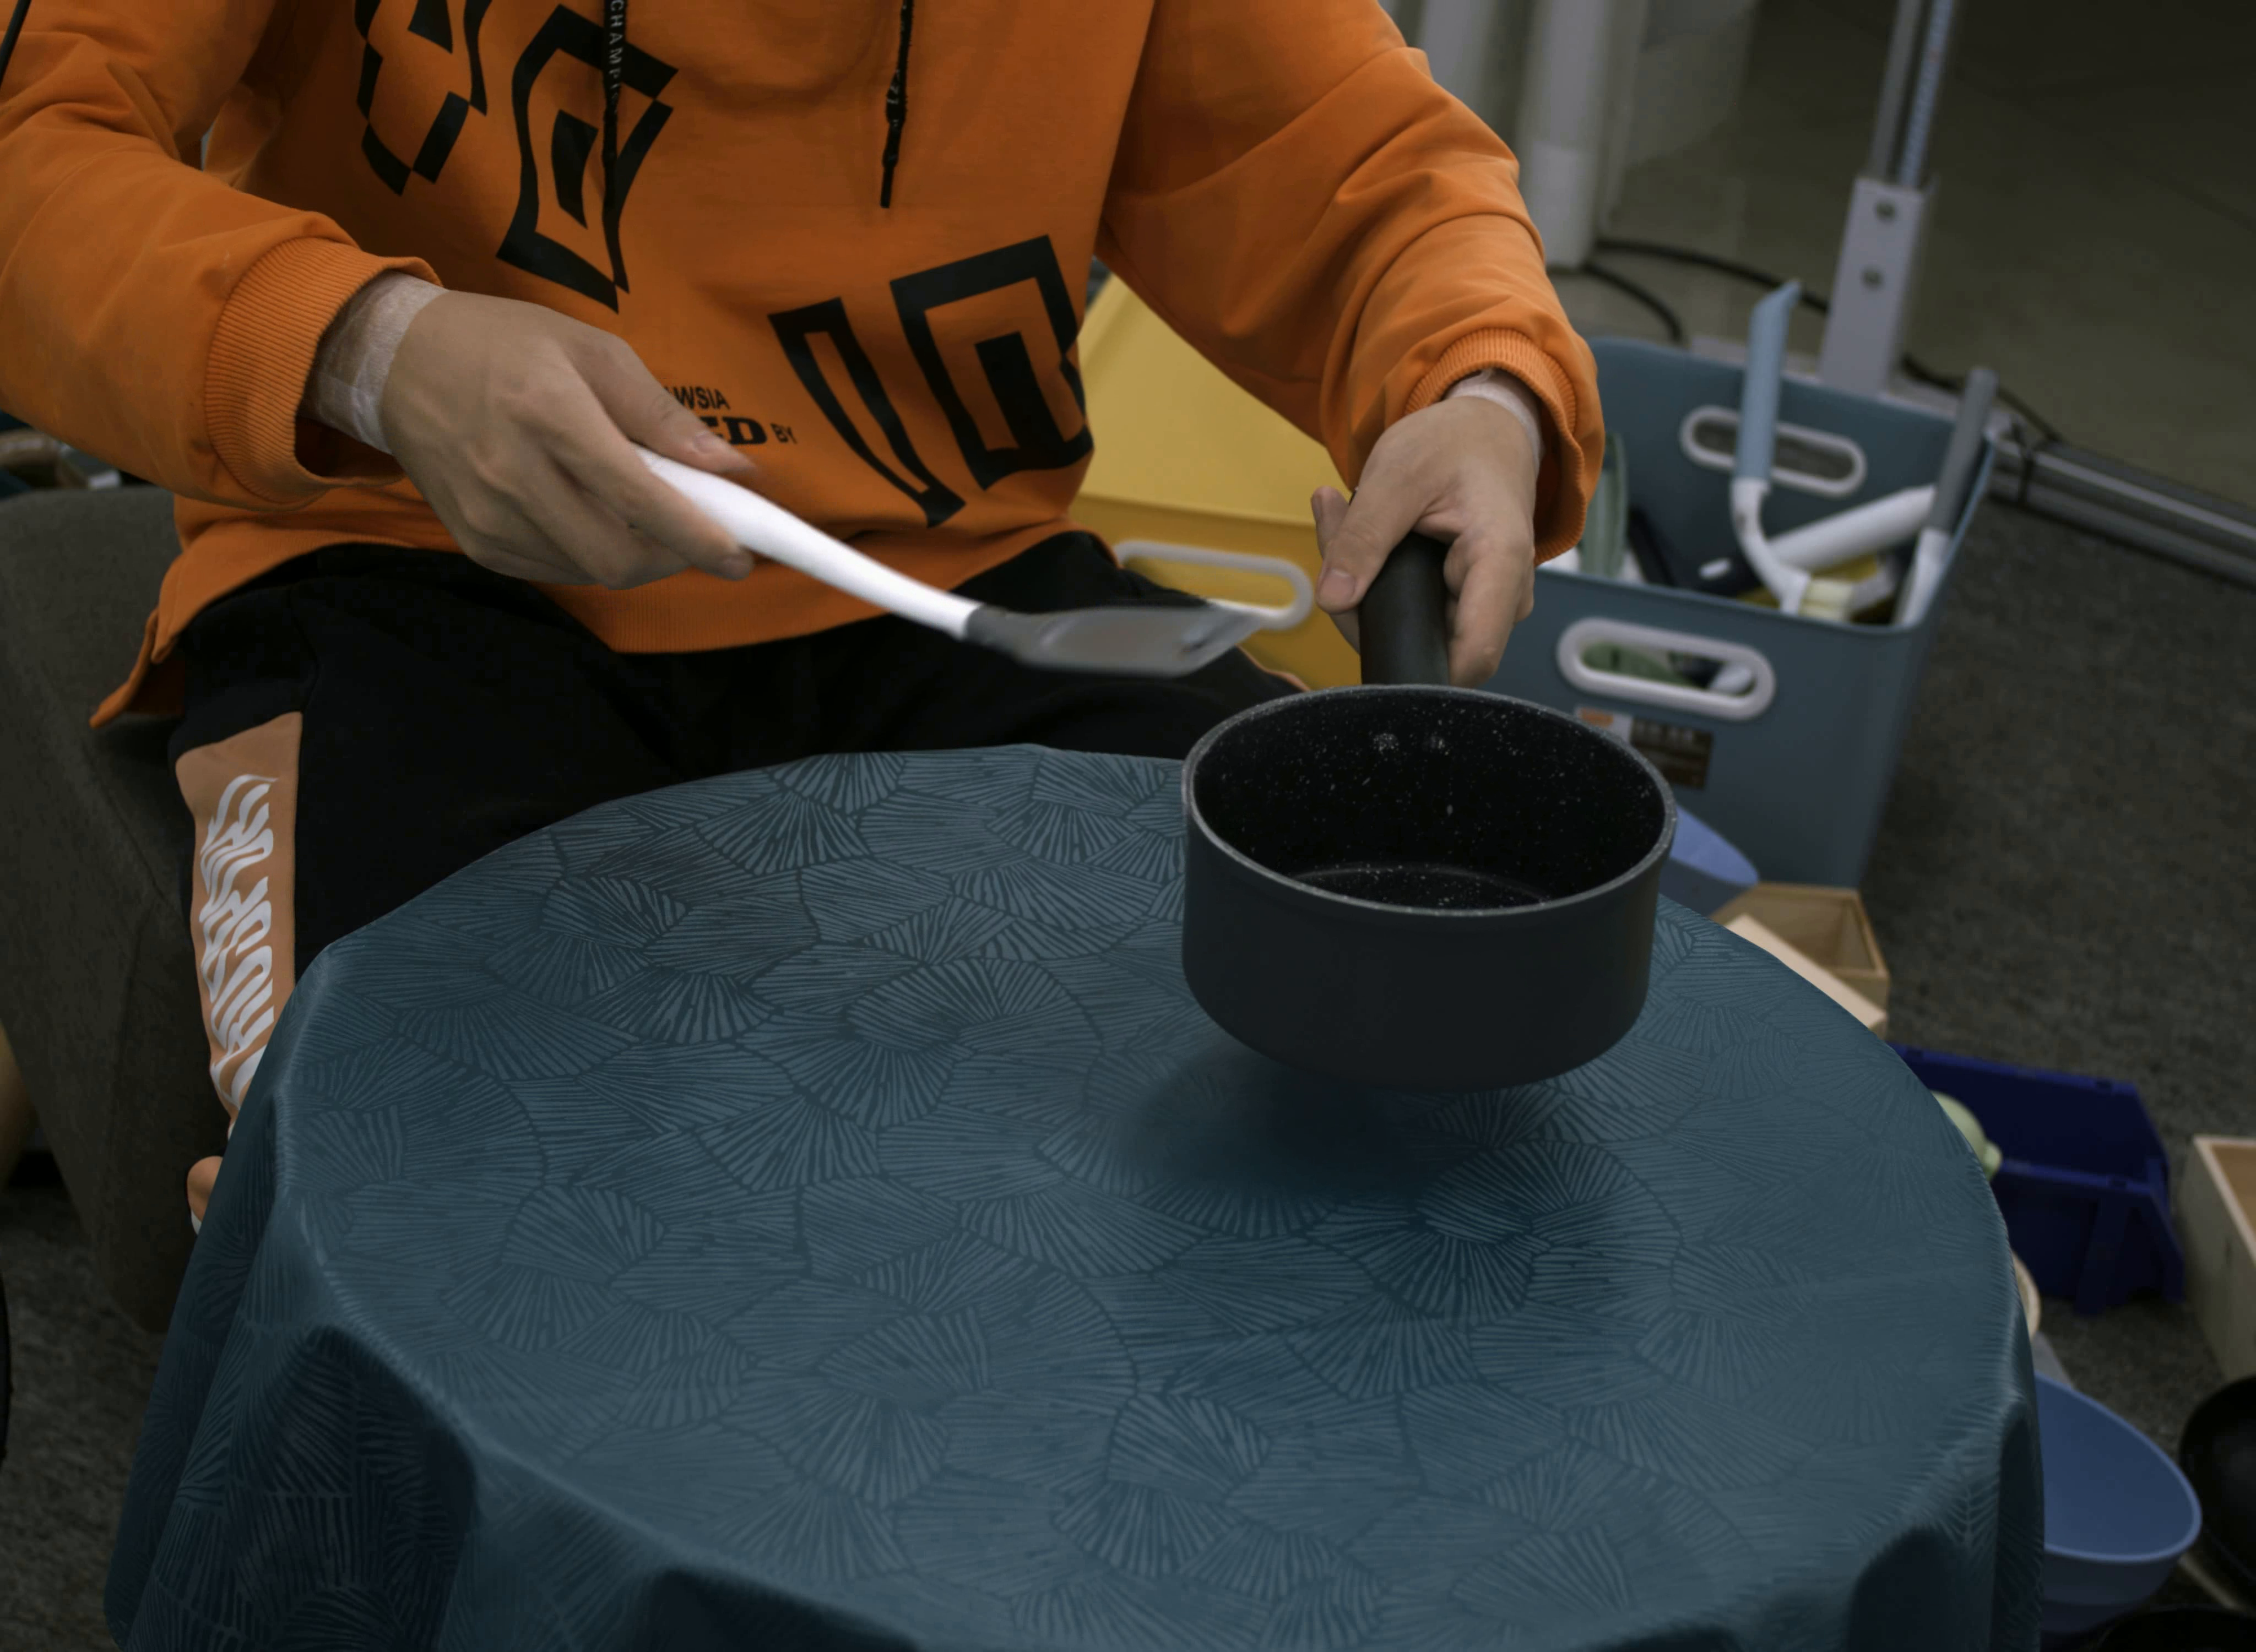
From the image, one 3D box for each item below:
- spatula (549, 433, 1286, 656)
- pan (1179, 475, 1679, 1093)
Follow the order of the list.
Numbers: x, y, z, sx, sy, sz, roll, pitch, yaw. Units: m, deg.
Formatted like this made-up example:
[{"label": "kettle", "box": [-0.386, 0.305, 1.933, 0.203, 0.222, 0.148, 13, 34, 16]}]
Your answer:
[{"label": "spatula", "box": [-0.077, -0.091, 1.818, 0.289, 0.032, 0.058, 16, 25, 31]}, {"label": "pan", "box": [0.104, -0.019, 1.907, 0.171, 0.086, 0.330, 4, 29, 1]}]
